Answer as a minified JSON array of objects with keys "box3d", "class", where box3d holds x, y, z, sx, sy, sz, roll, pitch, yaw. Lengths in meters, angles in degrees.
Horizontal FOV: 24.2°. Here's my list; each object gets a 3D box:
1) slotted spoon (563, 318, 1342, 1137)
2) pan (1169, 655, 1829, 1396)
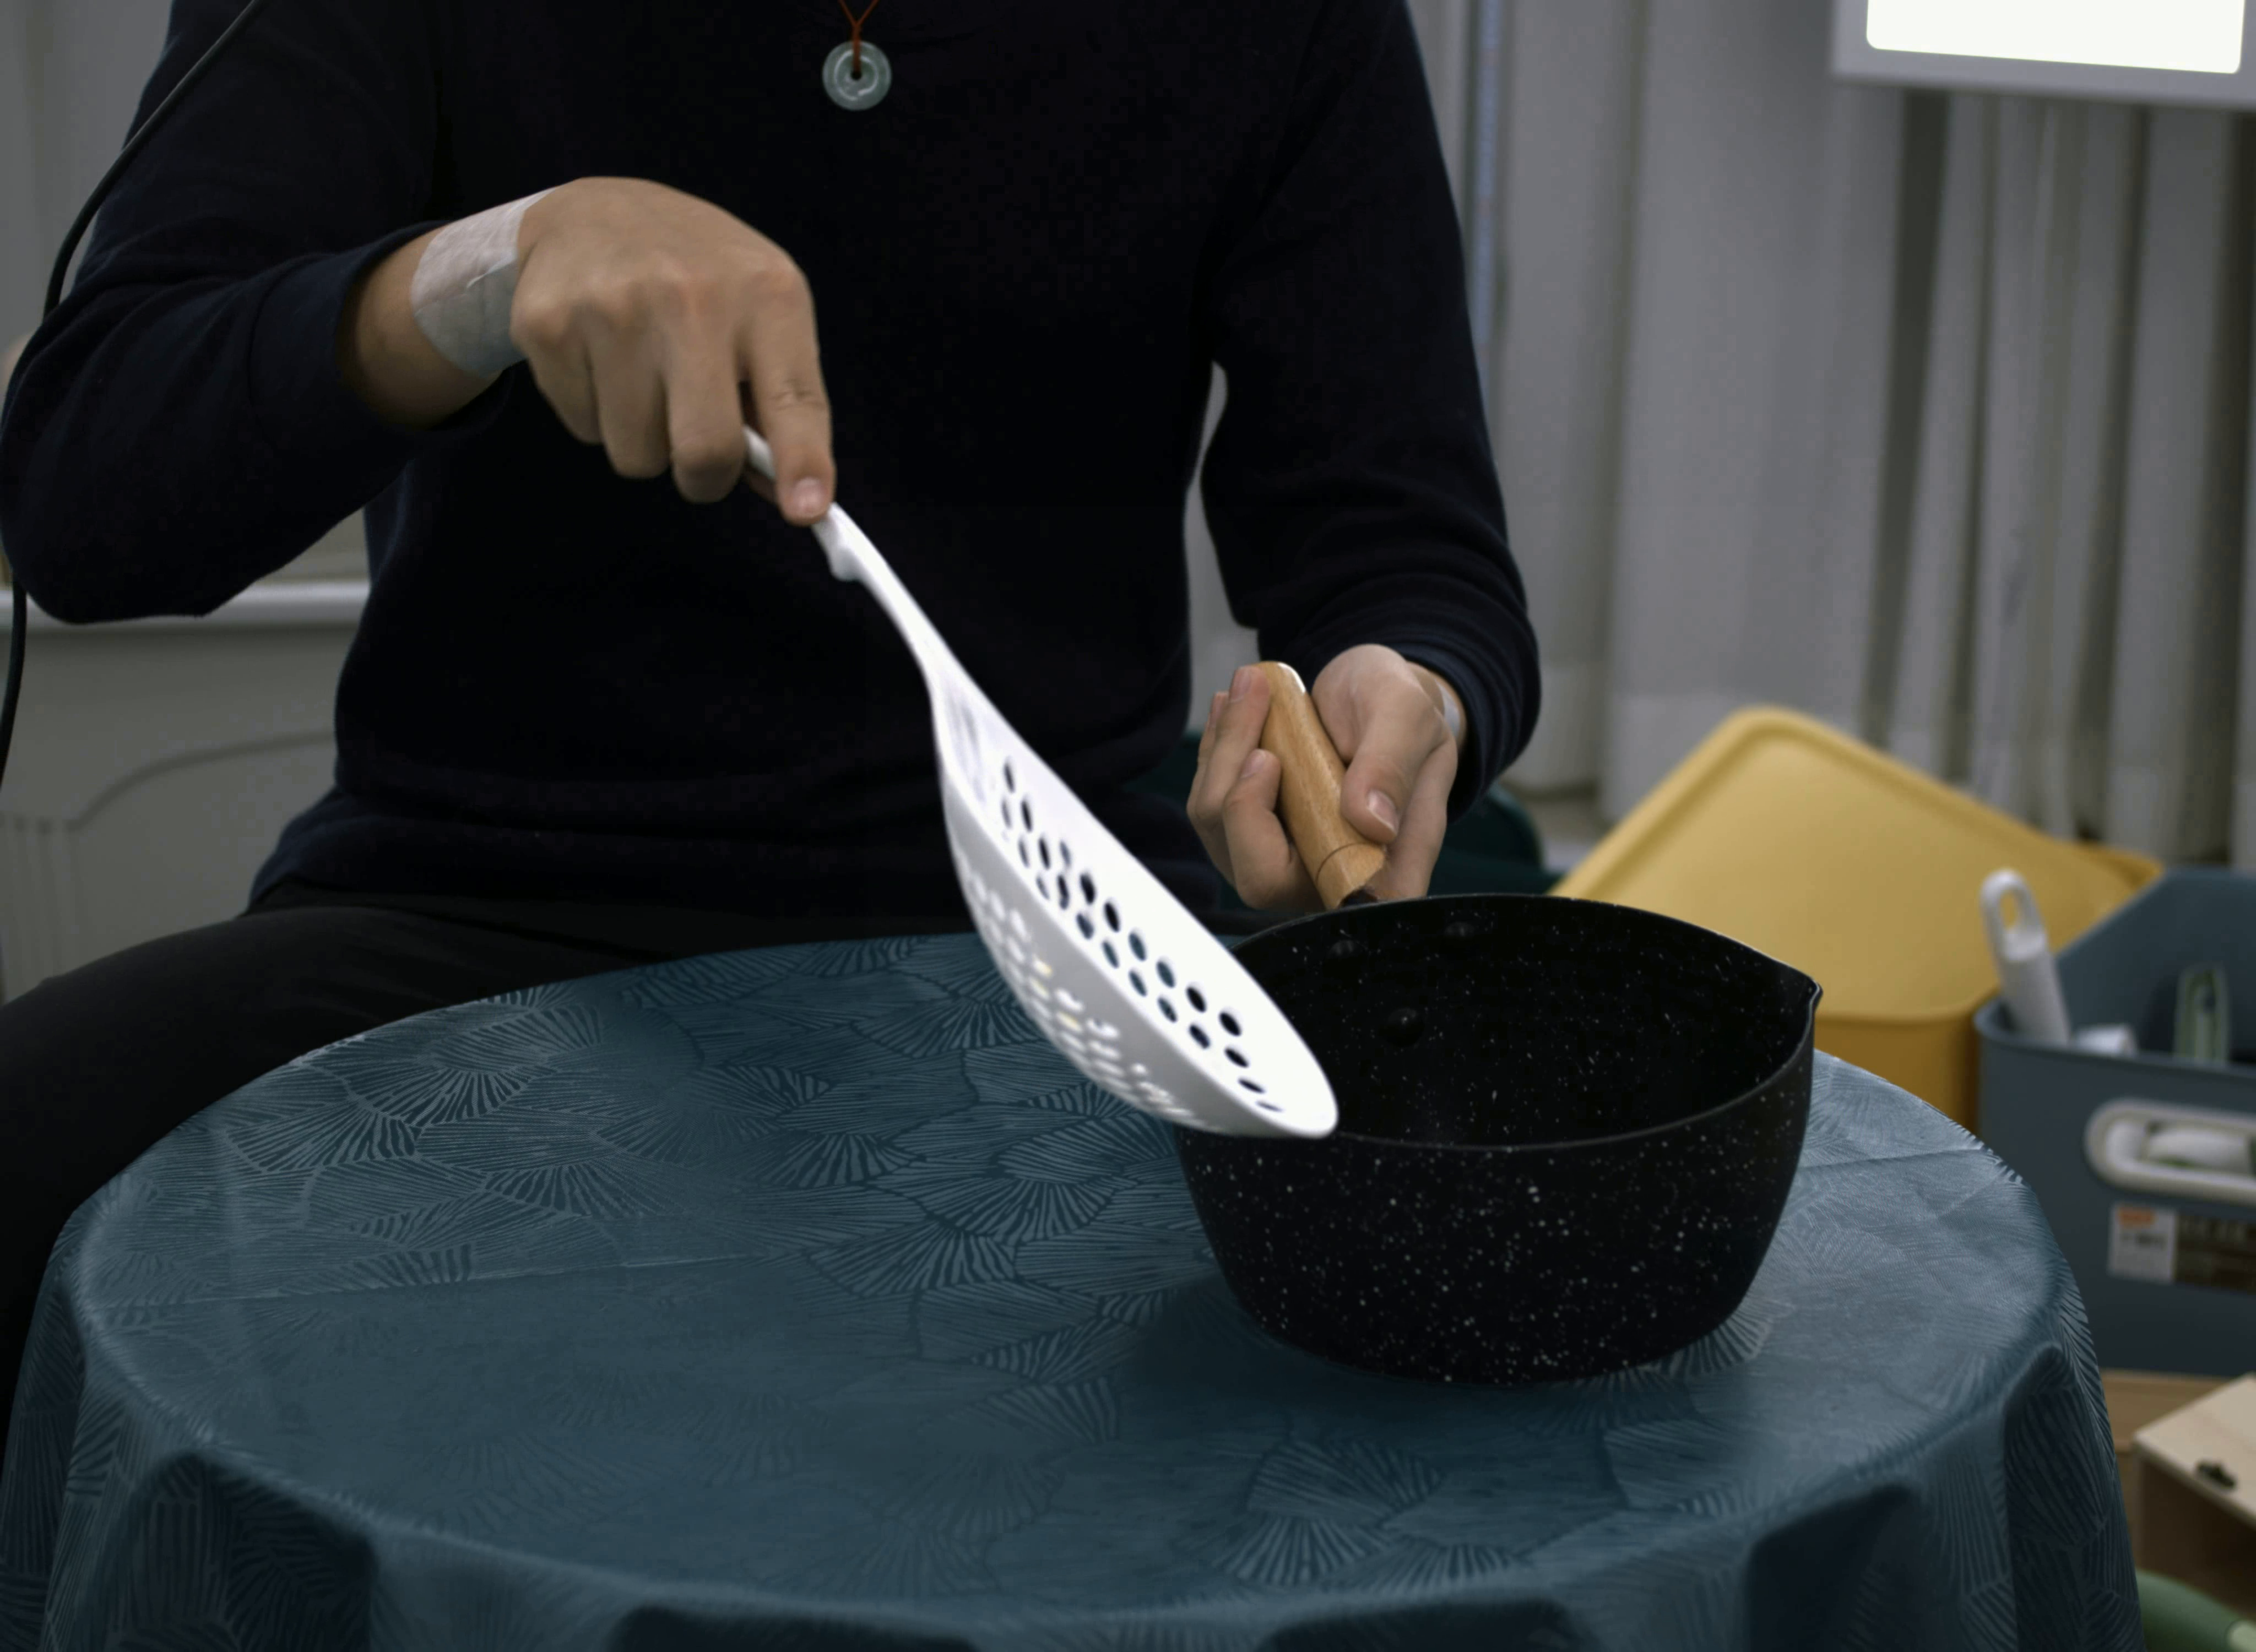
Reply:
[{"box3d":[-0.059,-0.035,1.469,0.344,0.050,0.138,56,16,28],"class":"slotted spoon"},{"box3d":[0.083,0.054,1.584,0.207,0.109,0.339,-7,23,-14],"class":"pan"}]
